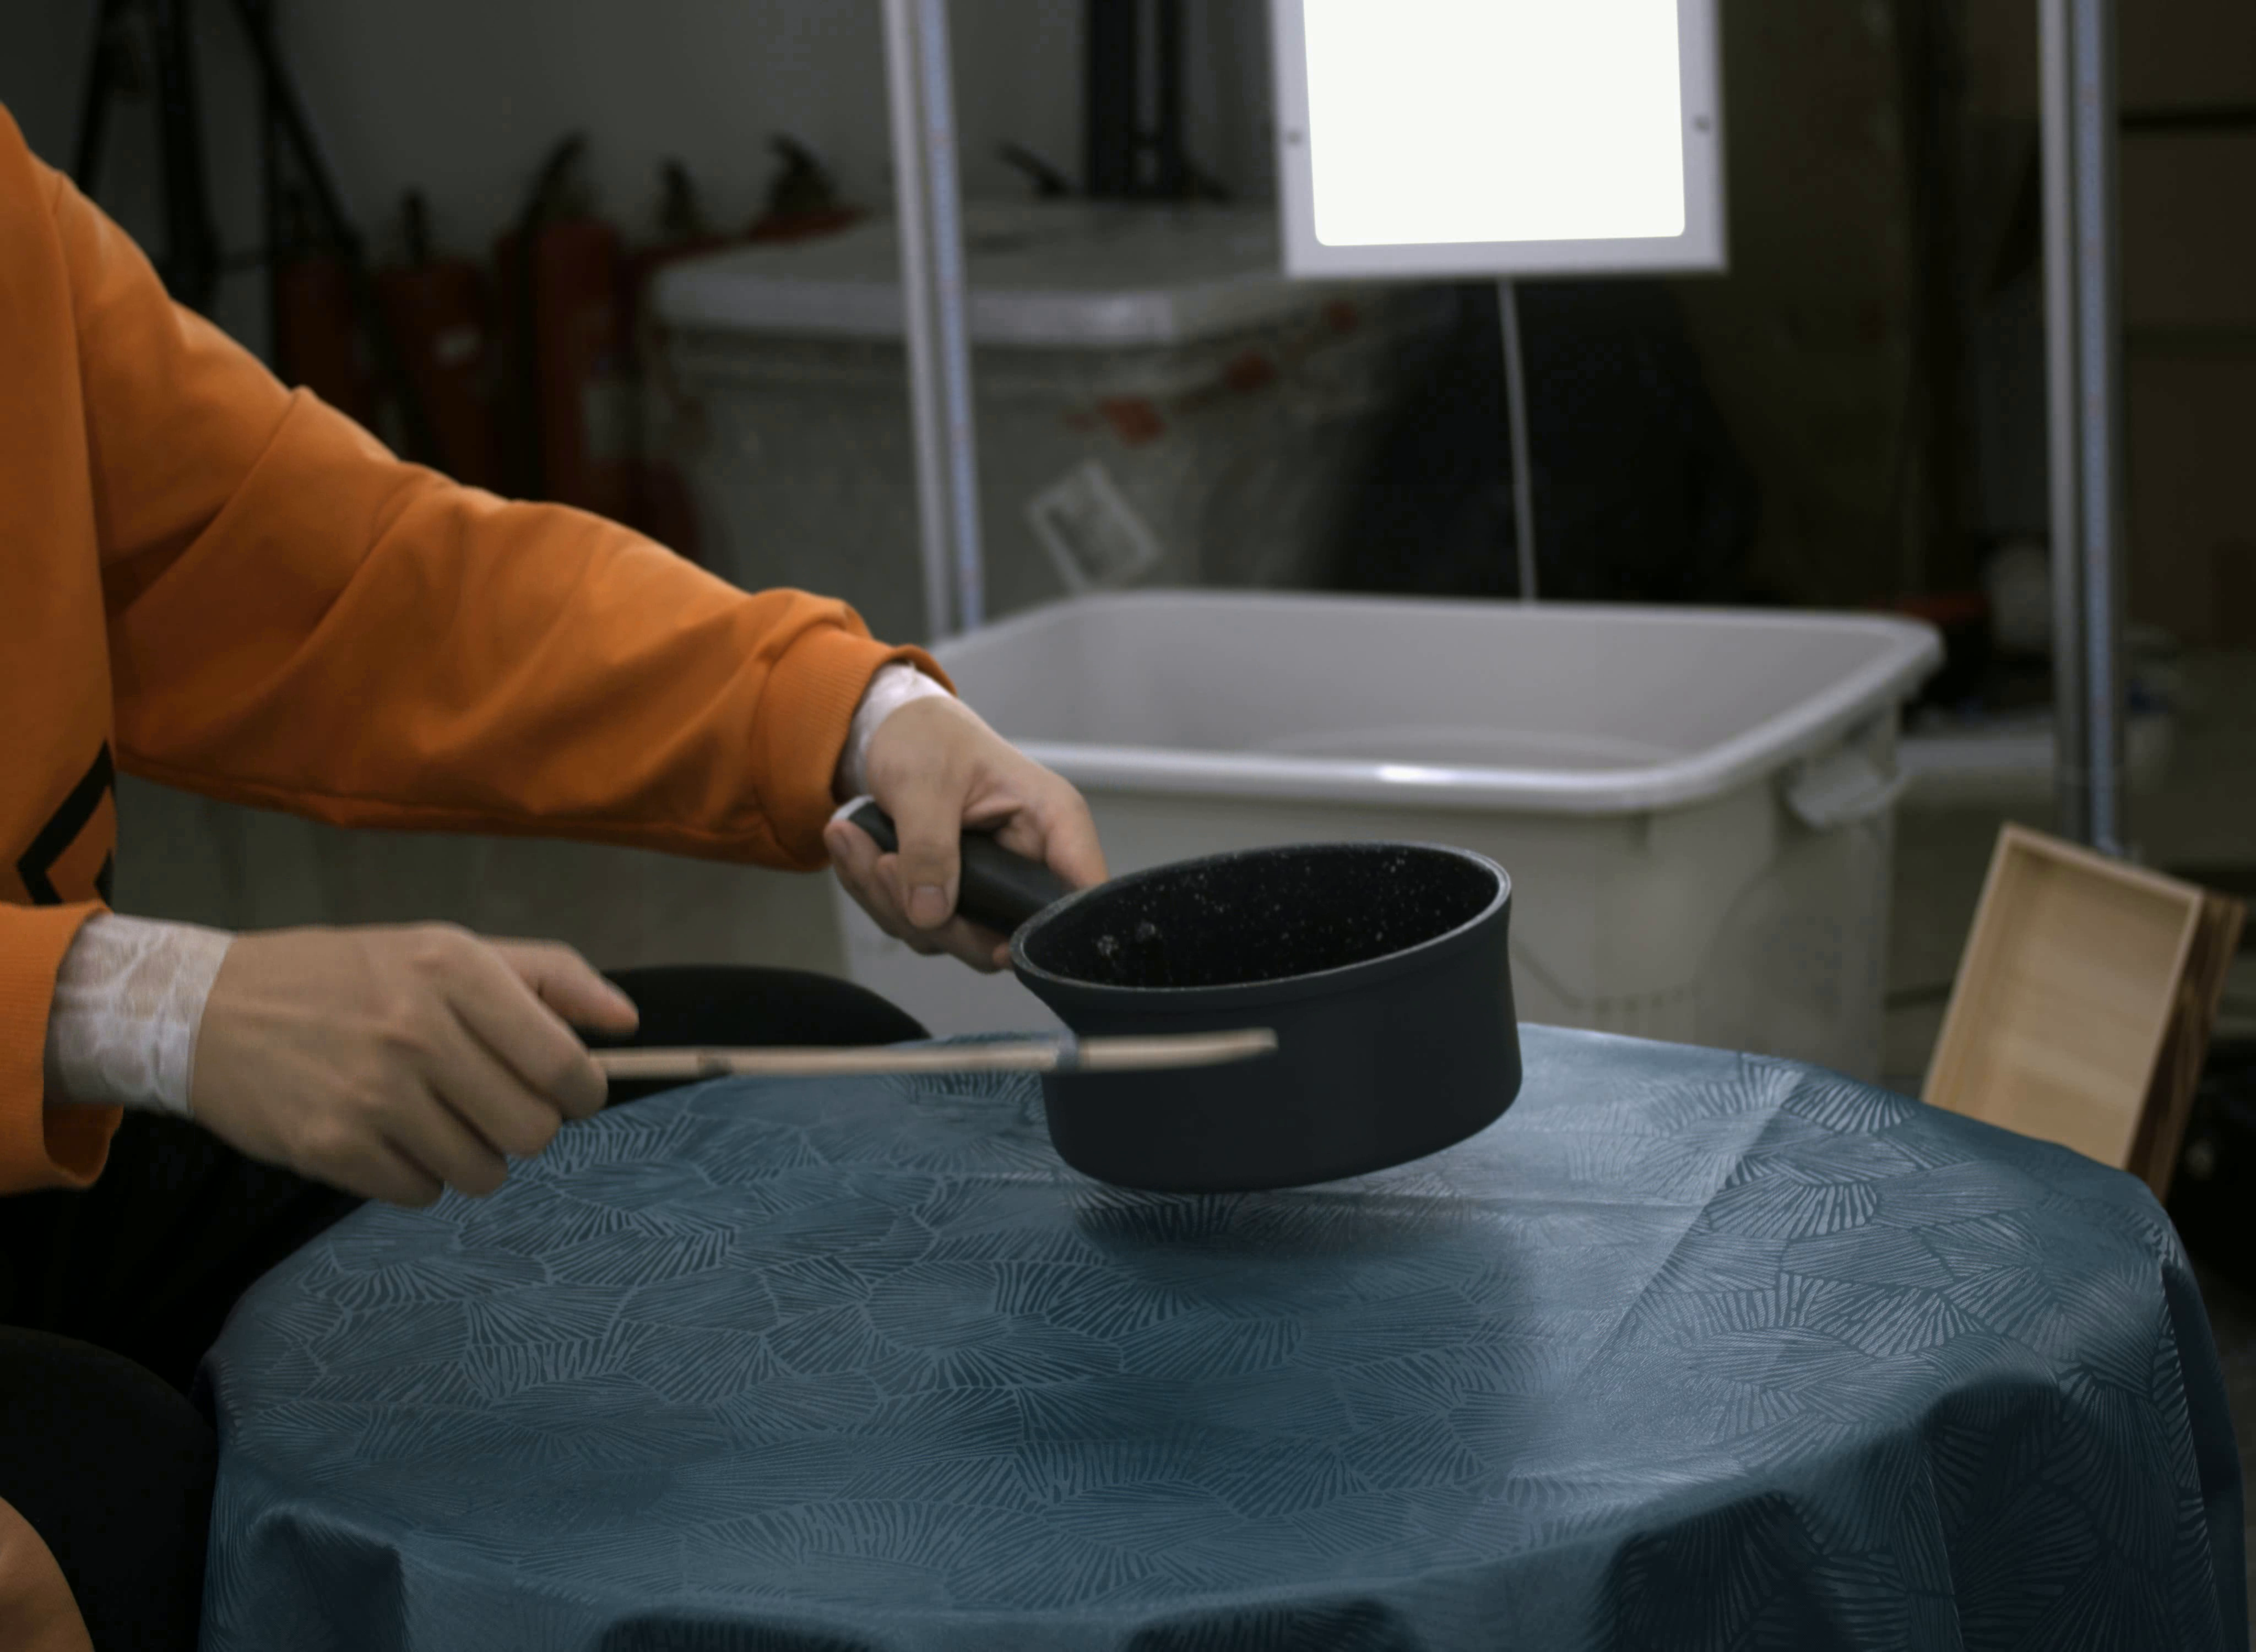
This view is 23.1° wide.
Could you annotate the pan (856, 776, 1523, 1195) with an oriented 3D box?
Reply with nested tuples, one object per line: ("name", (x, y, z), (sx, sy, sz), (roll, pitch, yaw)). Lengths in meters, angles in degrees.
("pan", (0.004, 0.049, 1.930), (0.168, 0.087, 0.335), (-17, 18, -30))

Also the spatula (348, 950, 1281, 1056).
("spatula", (-0.098, 0.058, 1.716), (0.293, 0.010, 0.072), (-4, -14, 4))
